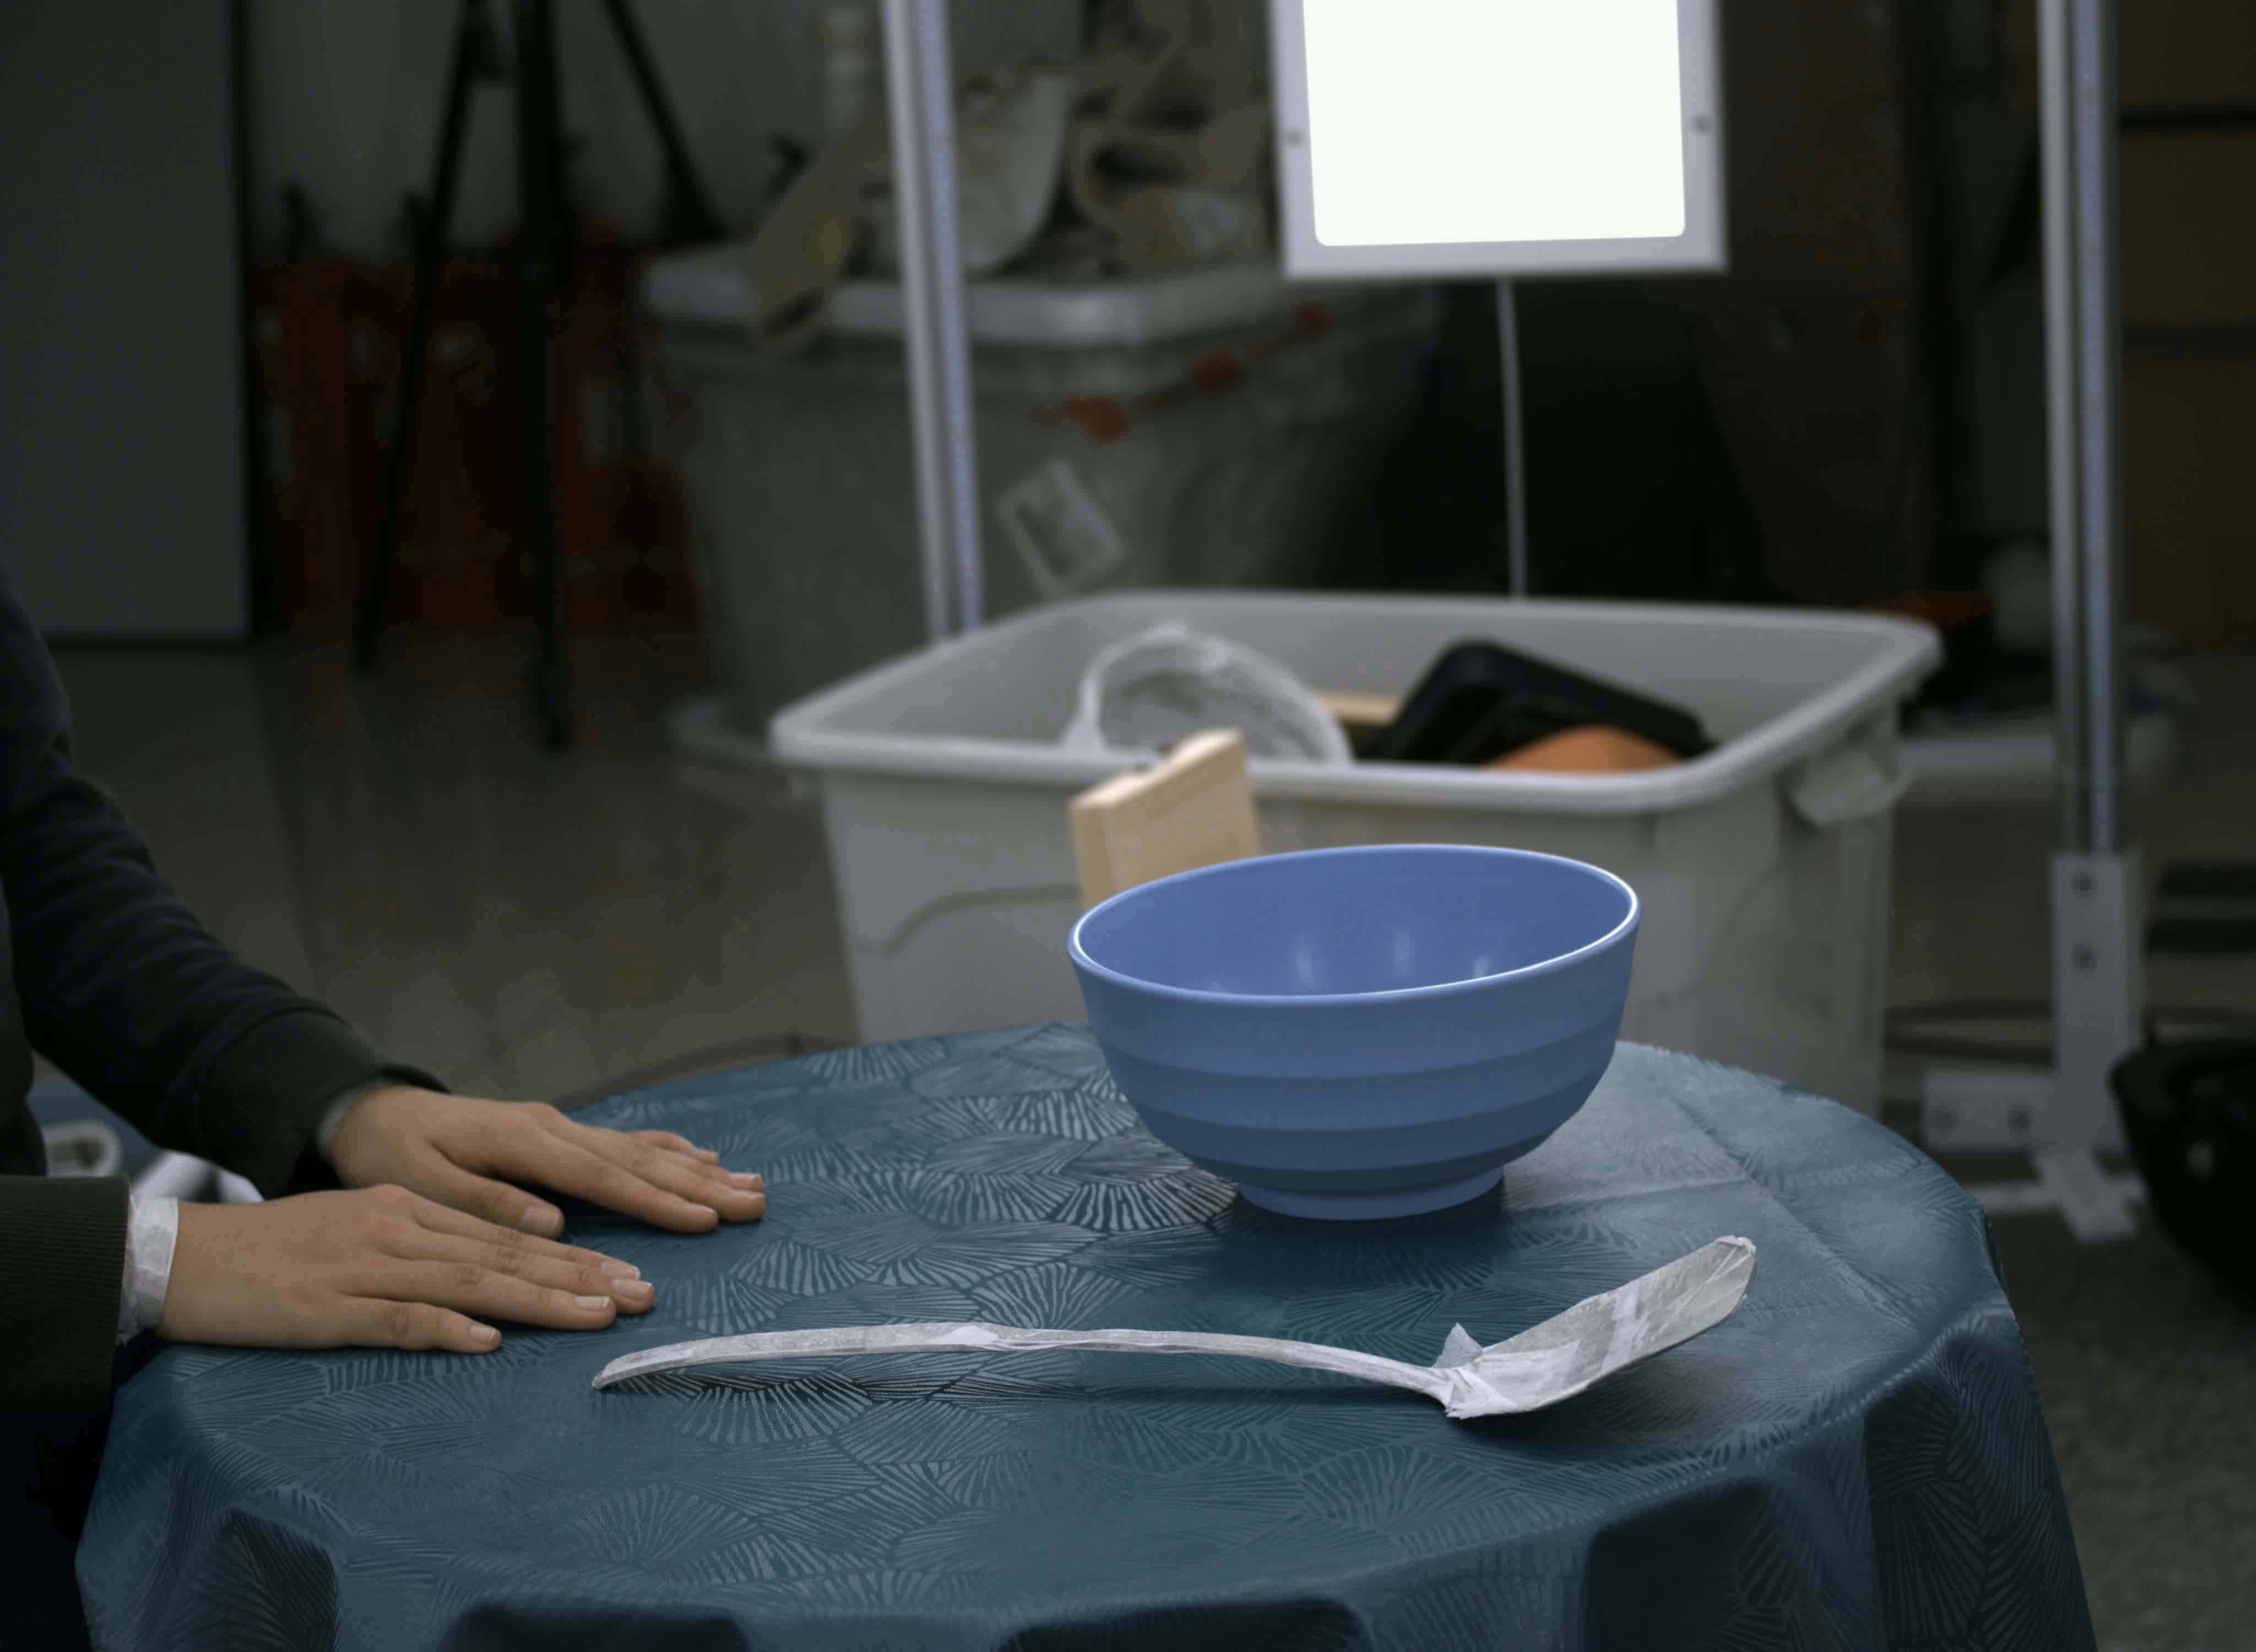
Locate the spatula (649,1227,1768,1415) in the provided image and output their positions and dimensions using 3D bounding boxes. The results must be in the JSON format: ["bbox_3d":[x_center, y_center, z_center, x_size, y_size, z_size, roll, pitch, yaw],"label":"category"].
[{"bbox_3d":[0.016,0.154,1.697,0.369,0.045,0.097,0,16,18],"label":"spatula"}]

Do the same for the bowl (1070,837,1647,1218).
[{"bbox_3d":[0.080,0.075,1.877,0.196,0.096,0.196,-3,15,-1],"label":"bowl"}]
